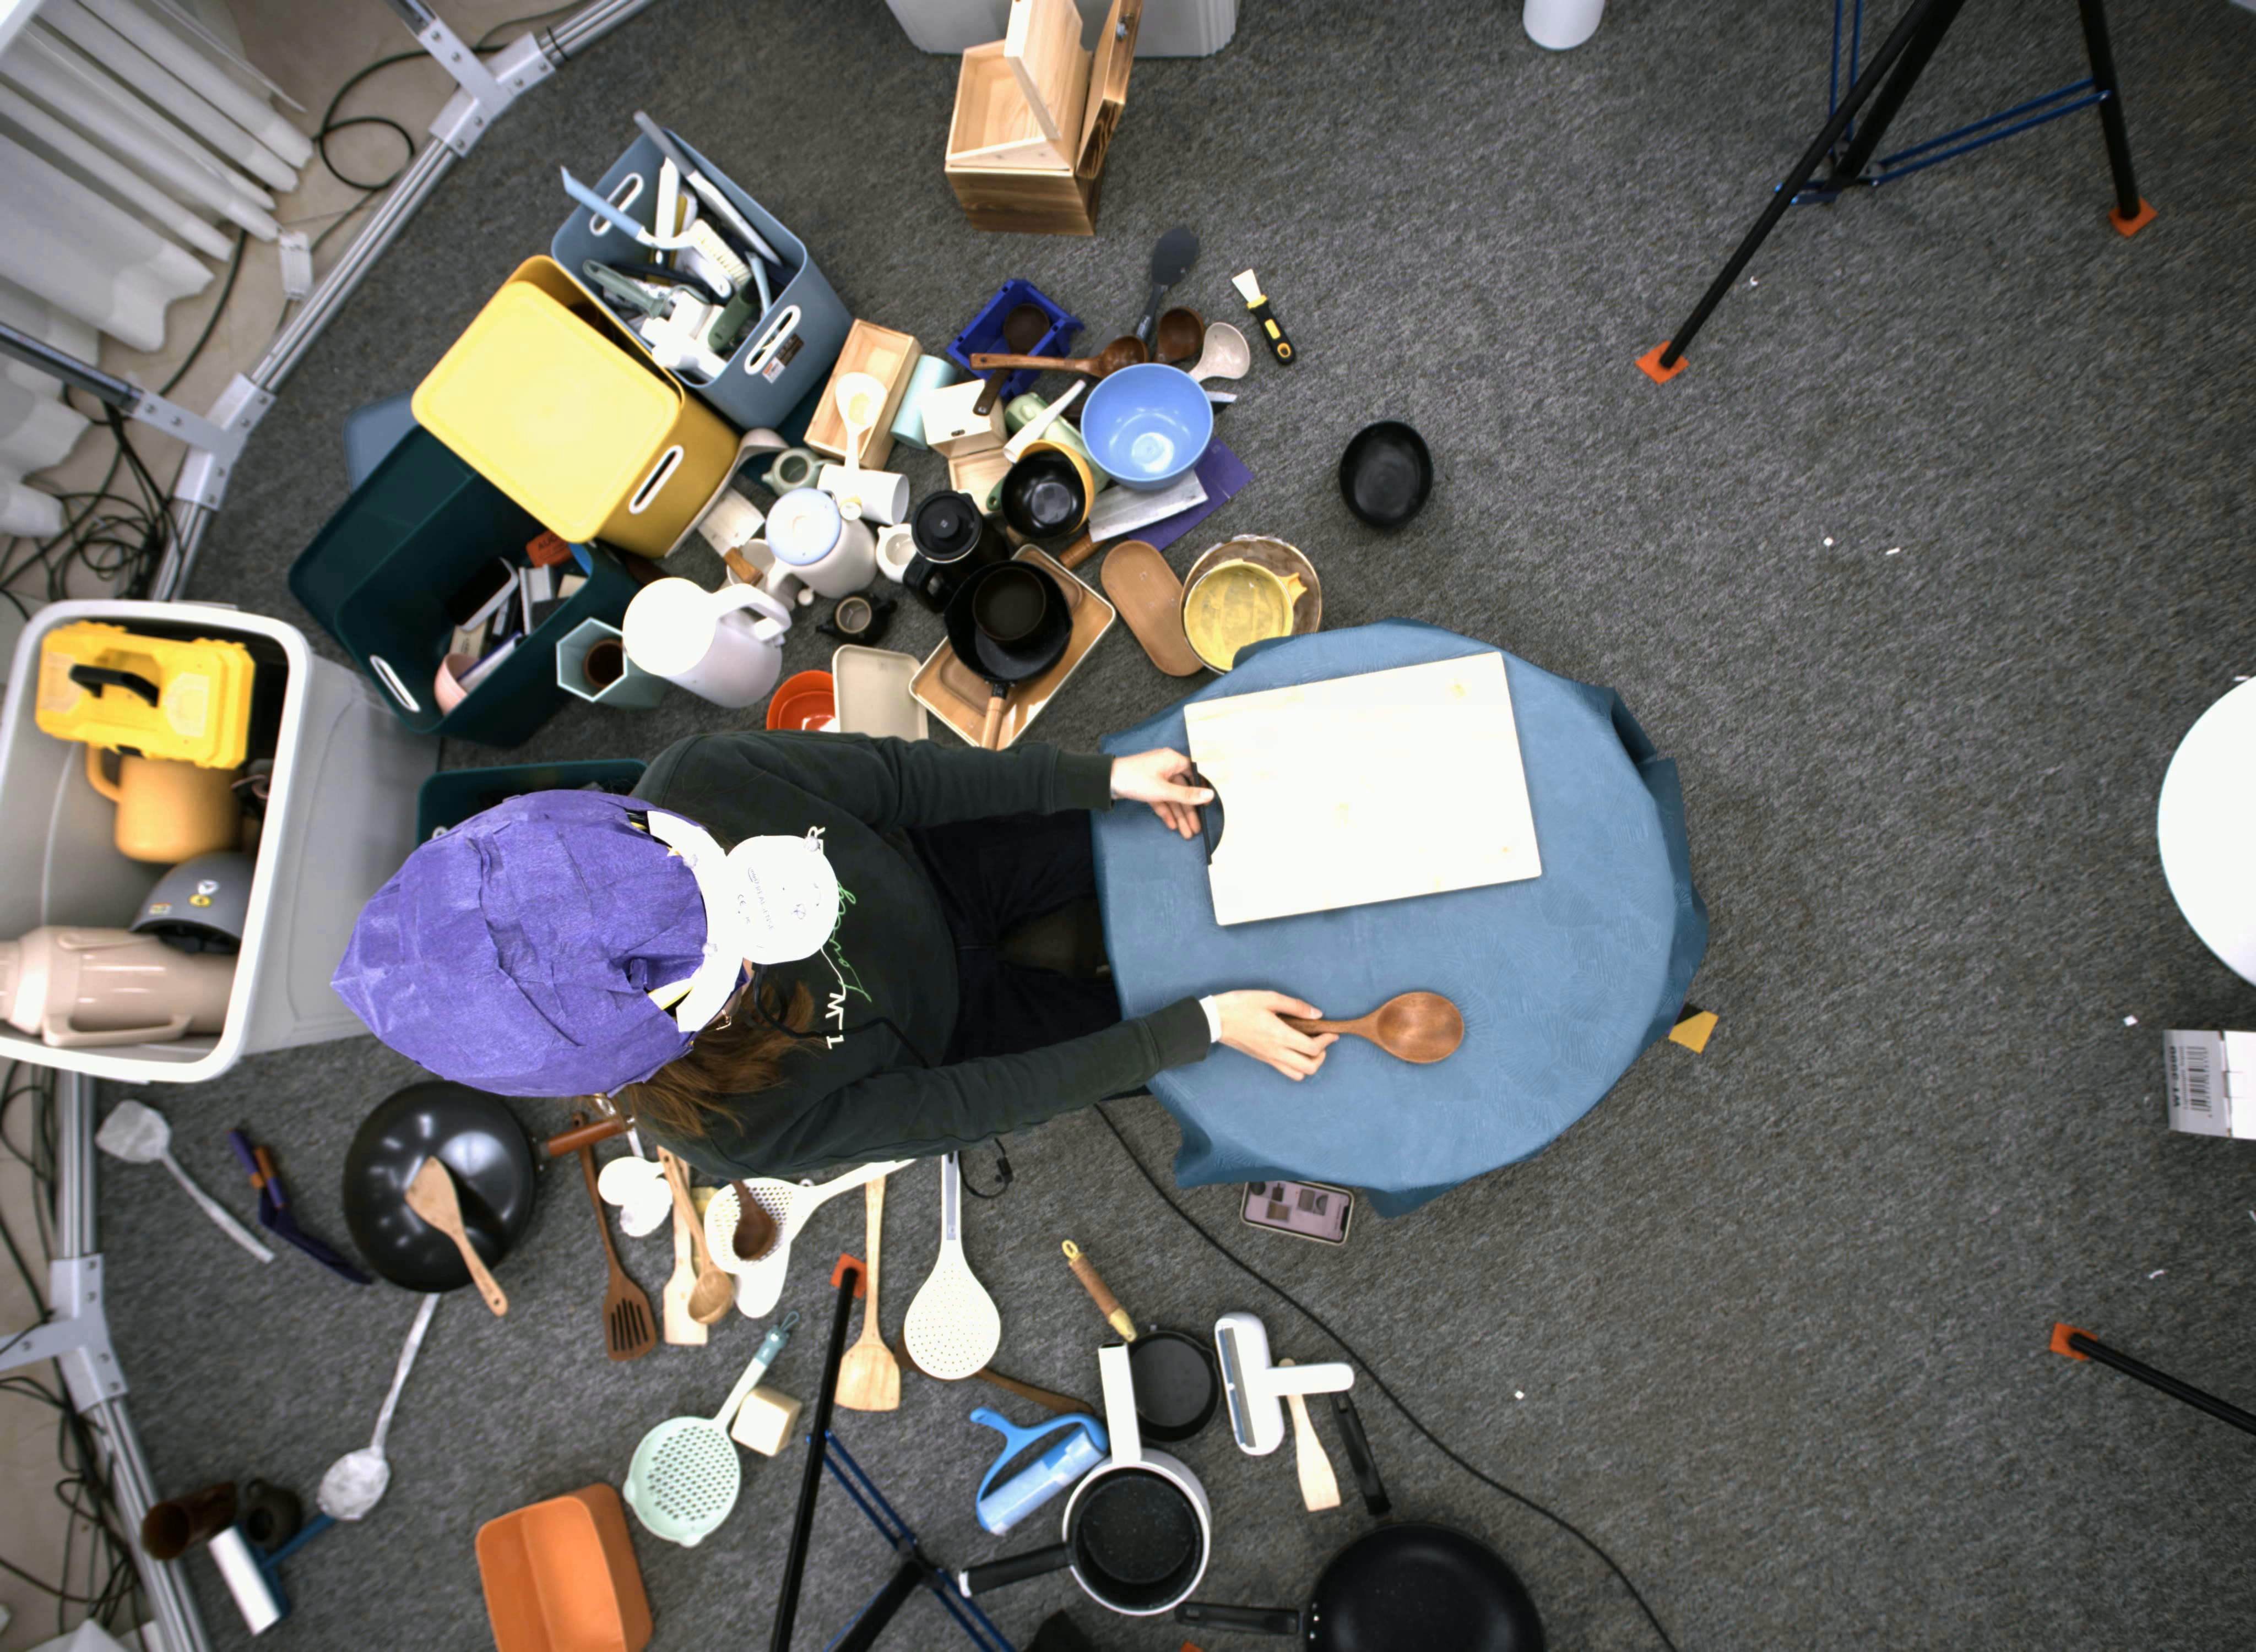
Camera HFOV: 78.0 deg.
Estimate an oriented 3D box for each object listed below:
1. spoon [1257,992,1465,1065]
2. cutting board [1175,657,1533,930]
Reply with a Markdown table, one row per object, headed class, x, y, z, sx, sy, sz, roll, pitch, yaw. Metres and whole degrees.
| class | x | y | z | sx | sy | sz | roll | pitch | yaw |
| --- | --- | --- | --- | --- | --- | --- | --- | --- | --- |
| spoon | 0.243 | 0.211 | 1.449 | 0.216 | 0.017 | 0.075 | -1 | 86 | 8 |
| cutting board | 0.240 | -0.035 | 1.462 | 0.350 | 0.023 | 0.249 | -10 | 84 | 7 |
